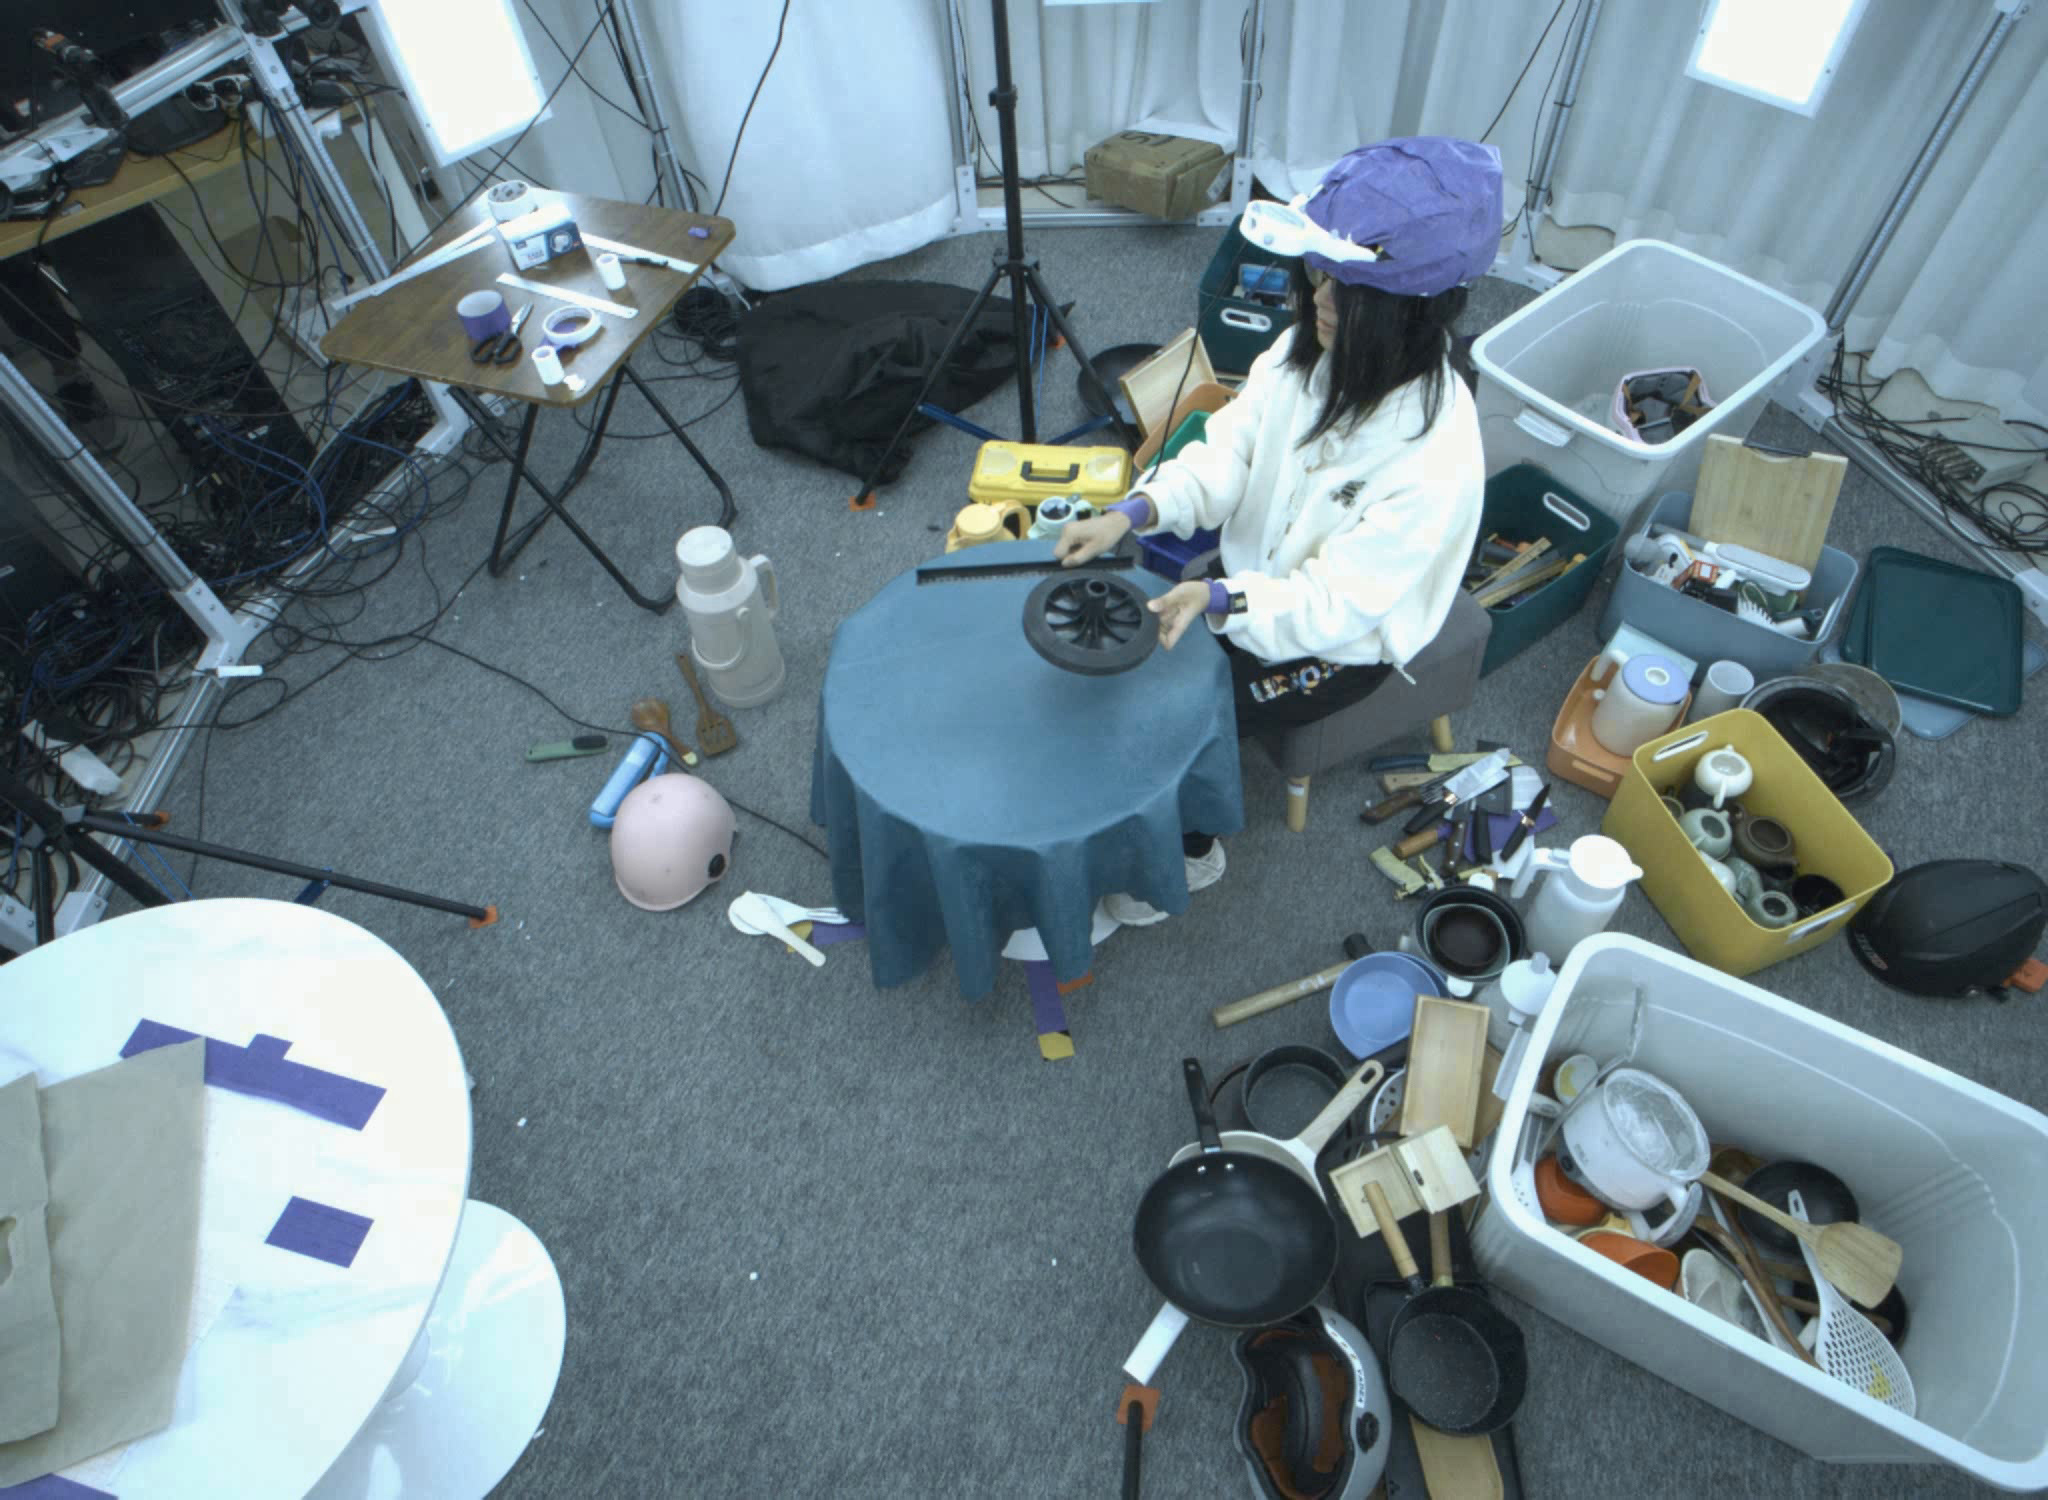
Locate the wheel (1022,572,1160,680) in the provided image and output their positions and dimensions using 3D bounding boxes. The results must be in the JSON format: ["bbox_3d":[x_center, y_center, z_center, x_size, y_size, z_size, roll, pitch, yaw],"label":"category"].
[{"bbox_3d":[0.093,-0.185,1.658,0.189,0.079,0.187,-5,54,-12],"label":"wheel"}]

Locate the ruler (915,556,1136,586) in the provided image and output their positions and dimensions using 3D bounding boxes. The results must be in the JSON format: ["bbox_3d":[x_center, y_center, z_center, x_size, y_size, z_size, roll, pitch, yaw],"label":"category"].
[{"bbox_3d":[0.001,-0.253,1.736,0.313,0.017,0.039,-4,30,-4],"label":"ruler"}]
